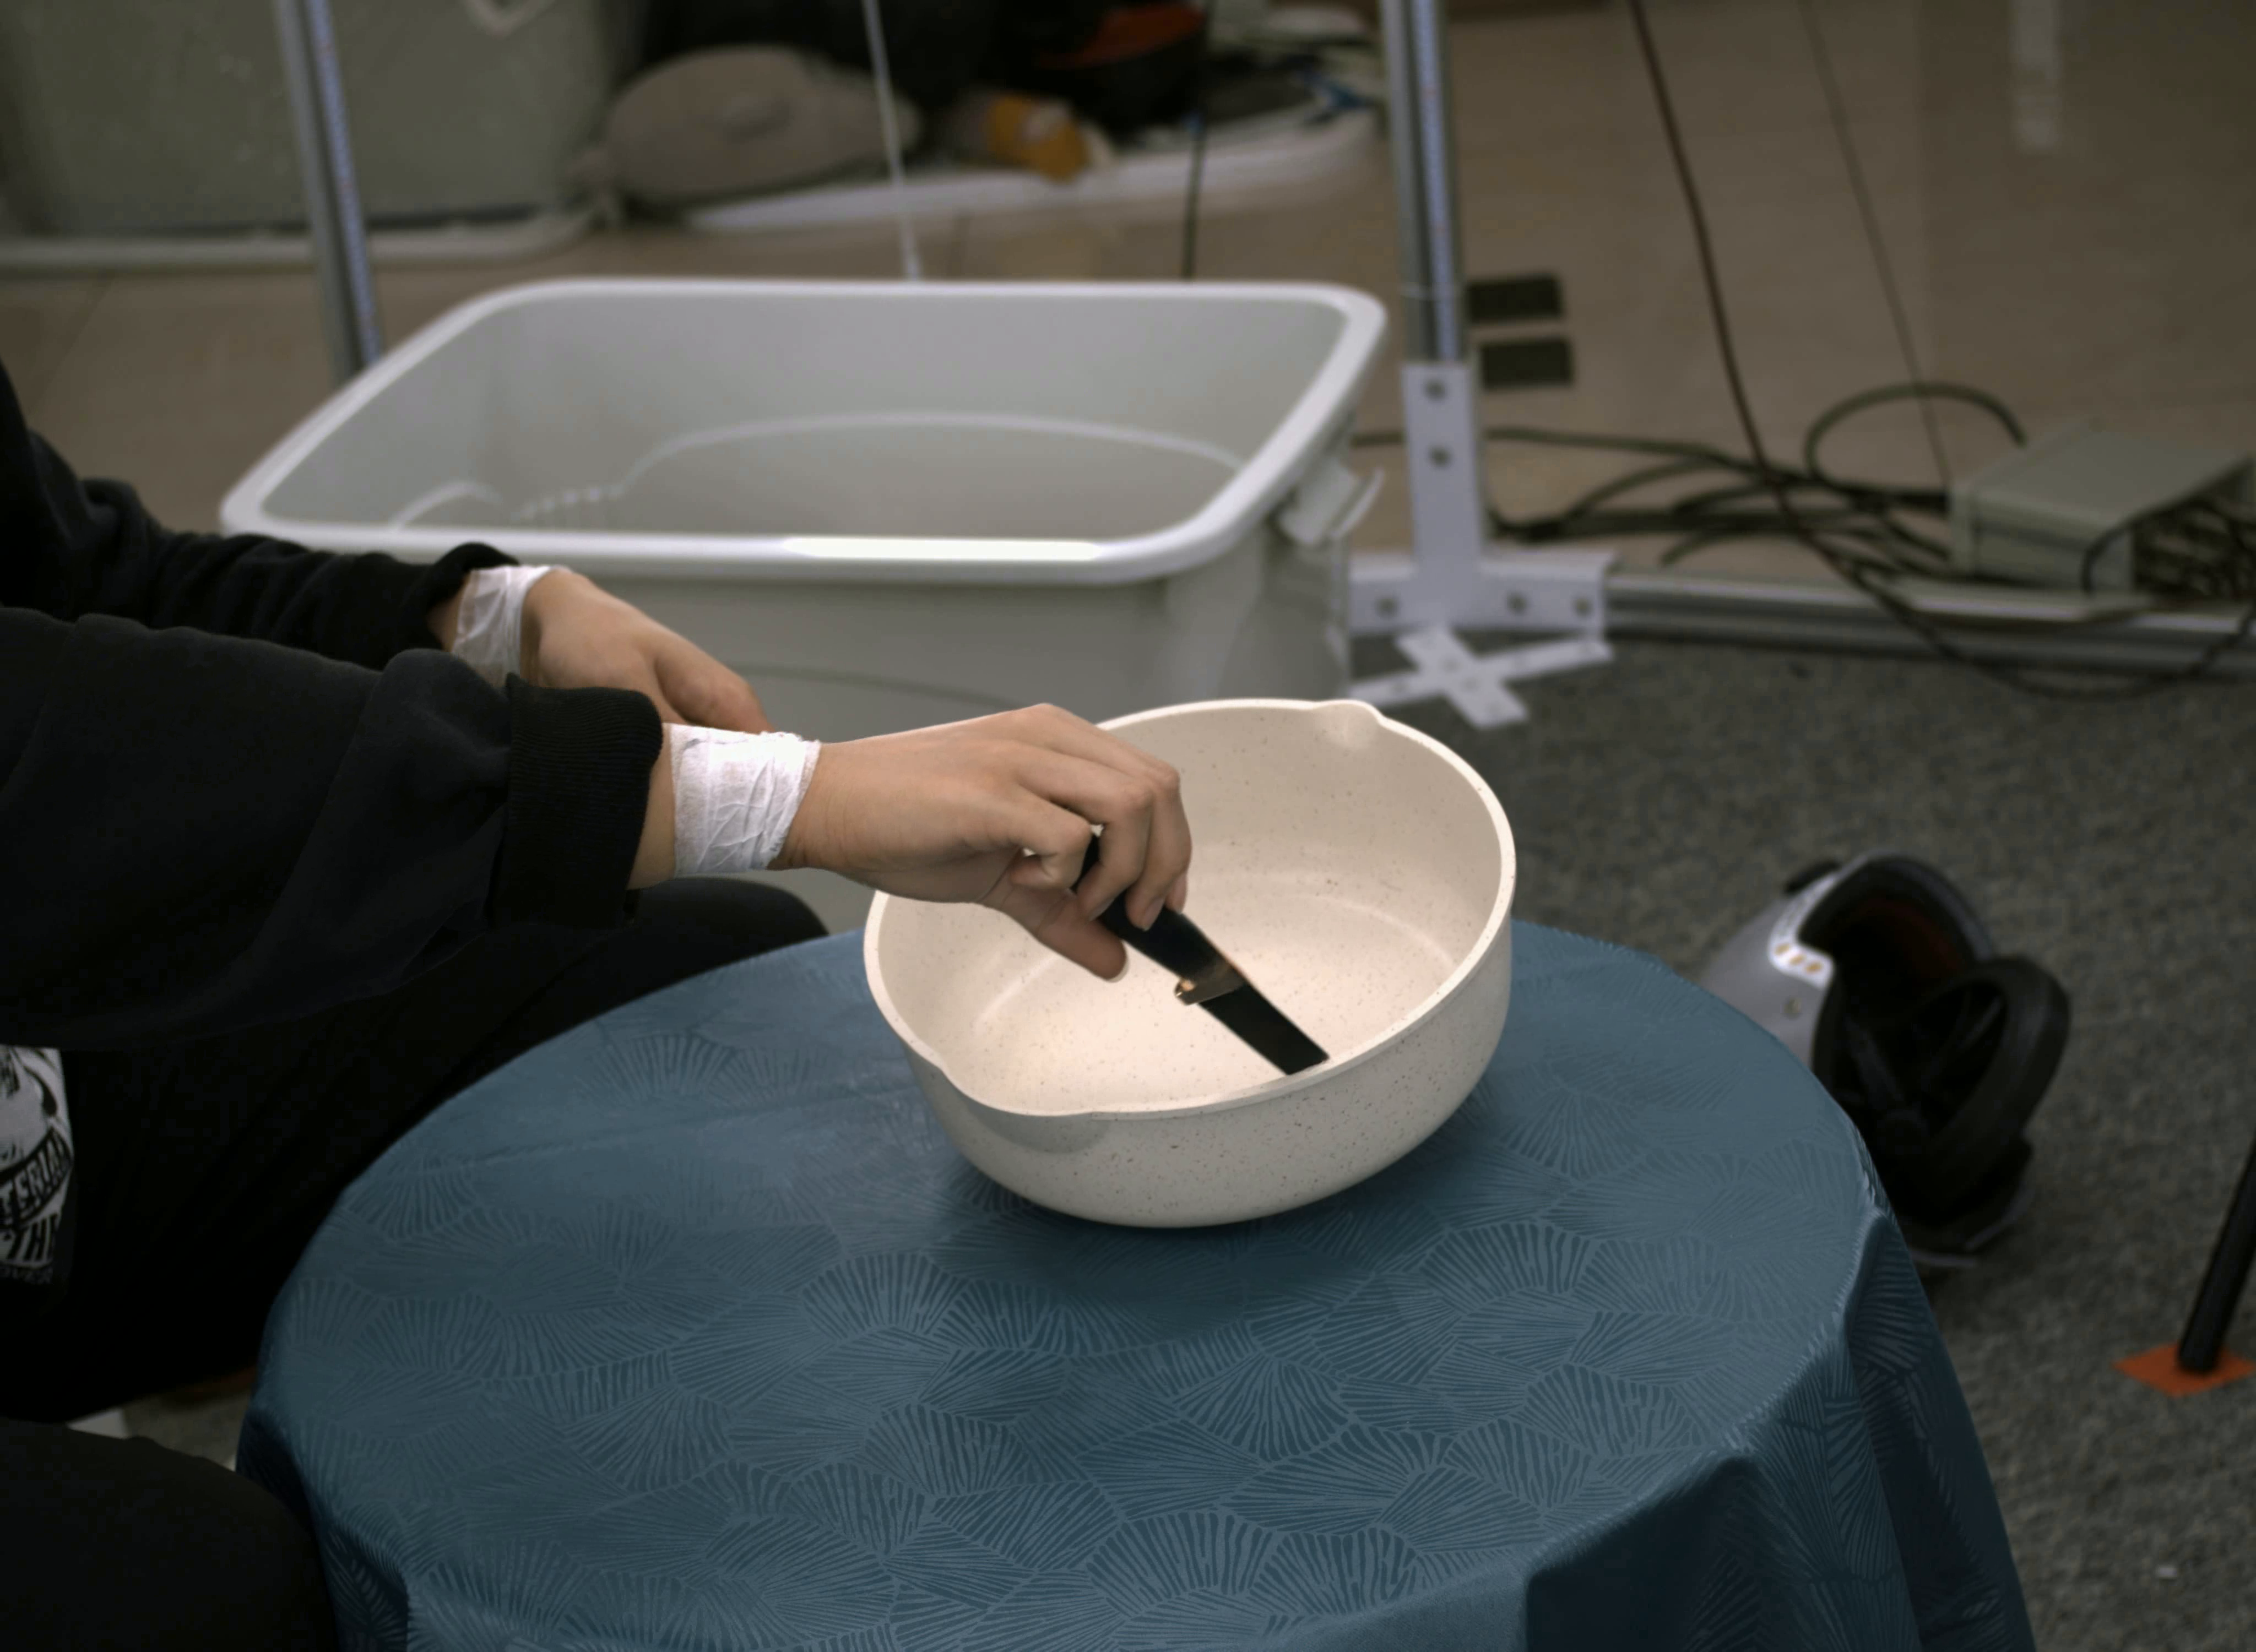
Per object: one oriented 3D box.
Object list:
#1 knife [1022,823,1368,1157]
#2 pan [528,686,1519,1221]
[{"bbox_3d":[0.030,0.061,2.027,0.026,0.228,0.017,-33,44,16],"label":"knife"},{"bbox_3d":[-0.047,0.031,2.217,0.432,0.104,0.260,13,46,30],"label":"pan"}]
